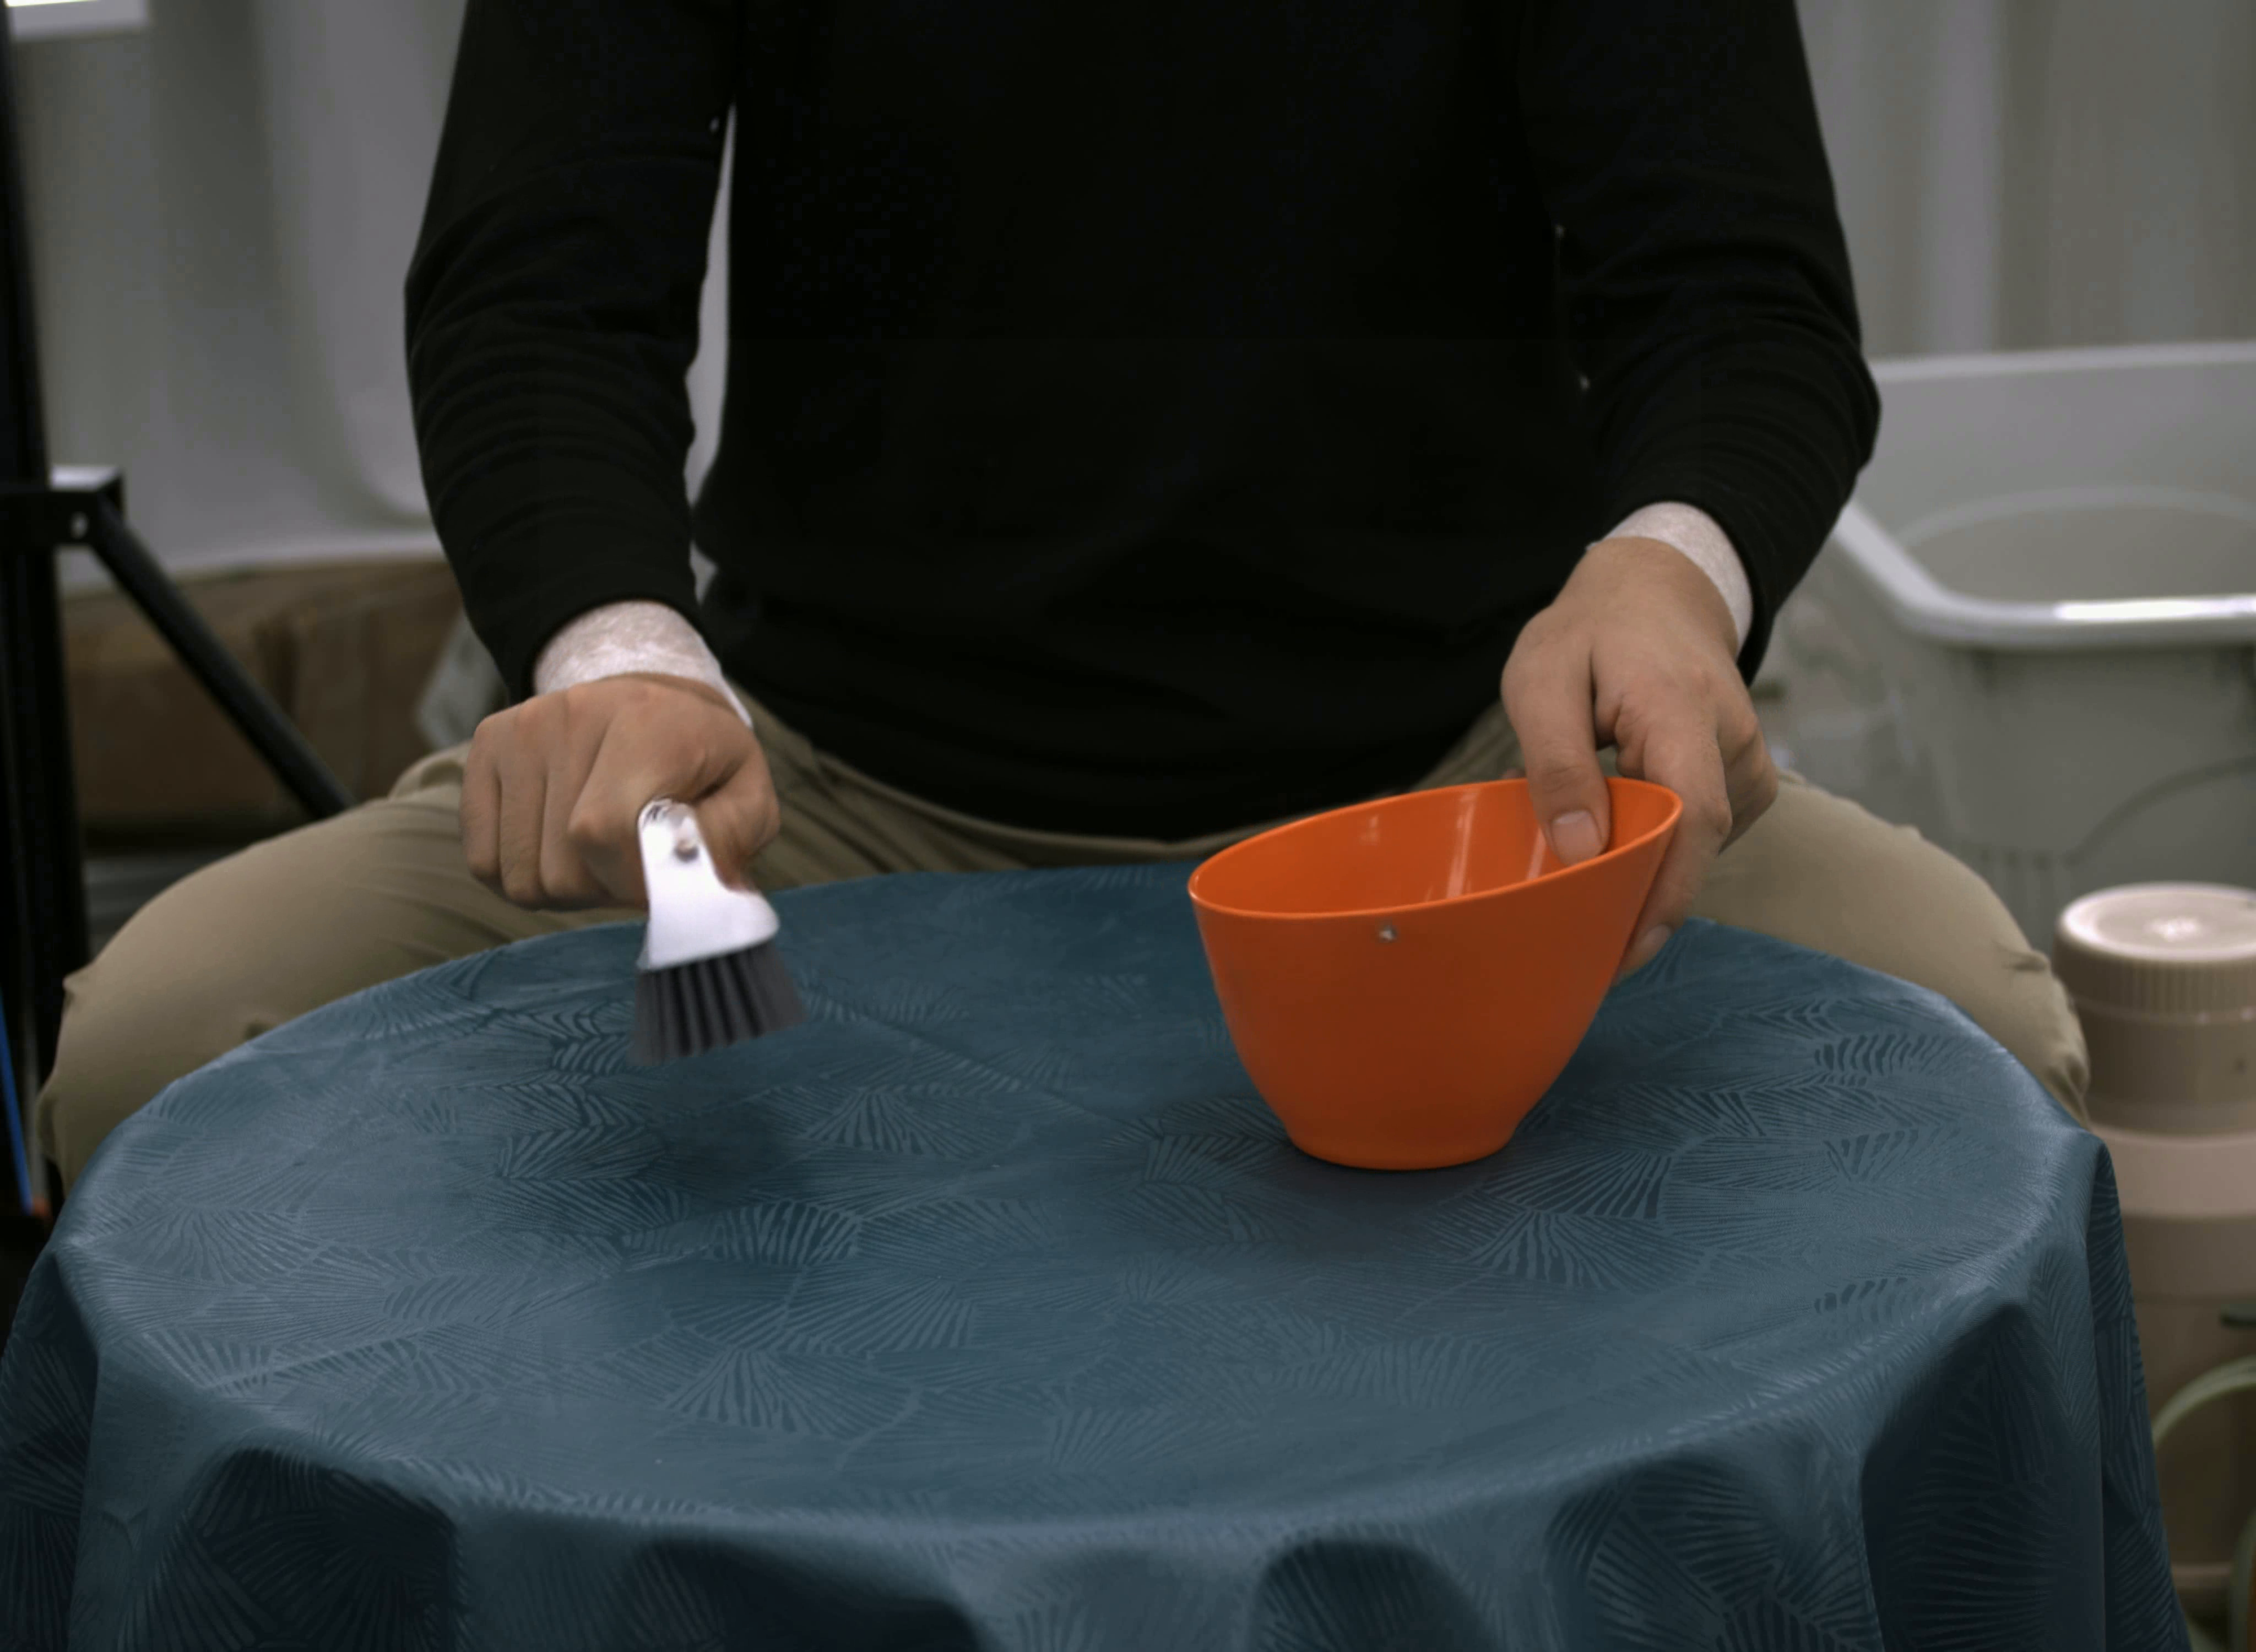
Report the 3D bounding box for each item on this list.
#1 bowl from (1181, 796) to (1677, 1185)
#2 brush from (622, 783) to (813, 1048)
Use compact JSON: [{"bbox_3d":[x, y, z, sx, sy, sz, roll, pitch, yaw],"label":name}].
[{"bbox_3d":[0.089,0.049,1.575,0.147,0.105,0.148,-2,13,-1],"label":"bowl"},{"bbox_3d":[-0.126,0.024,1.573,0.050,0.073,0.099,-17,1,-2],"label":"brush"}]
